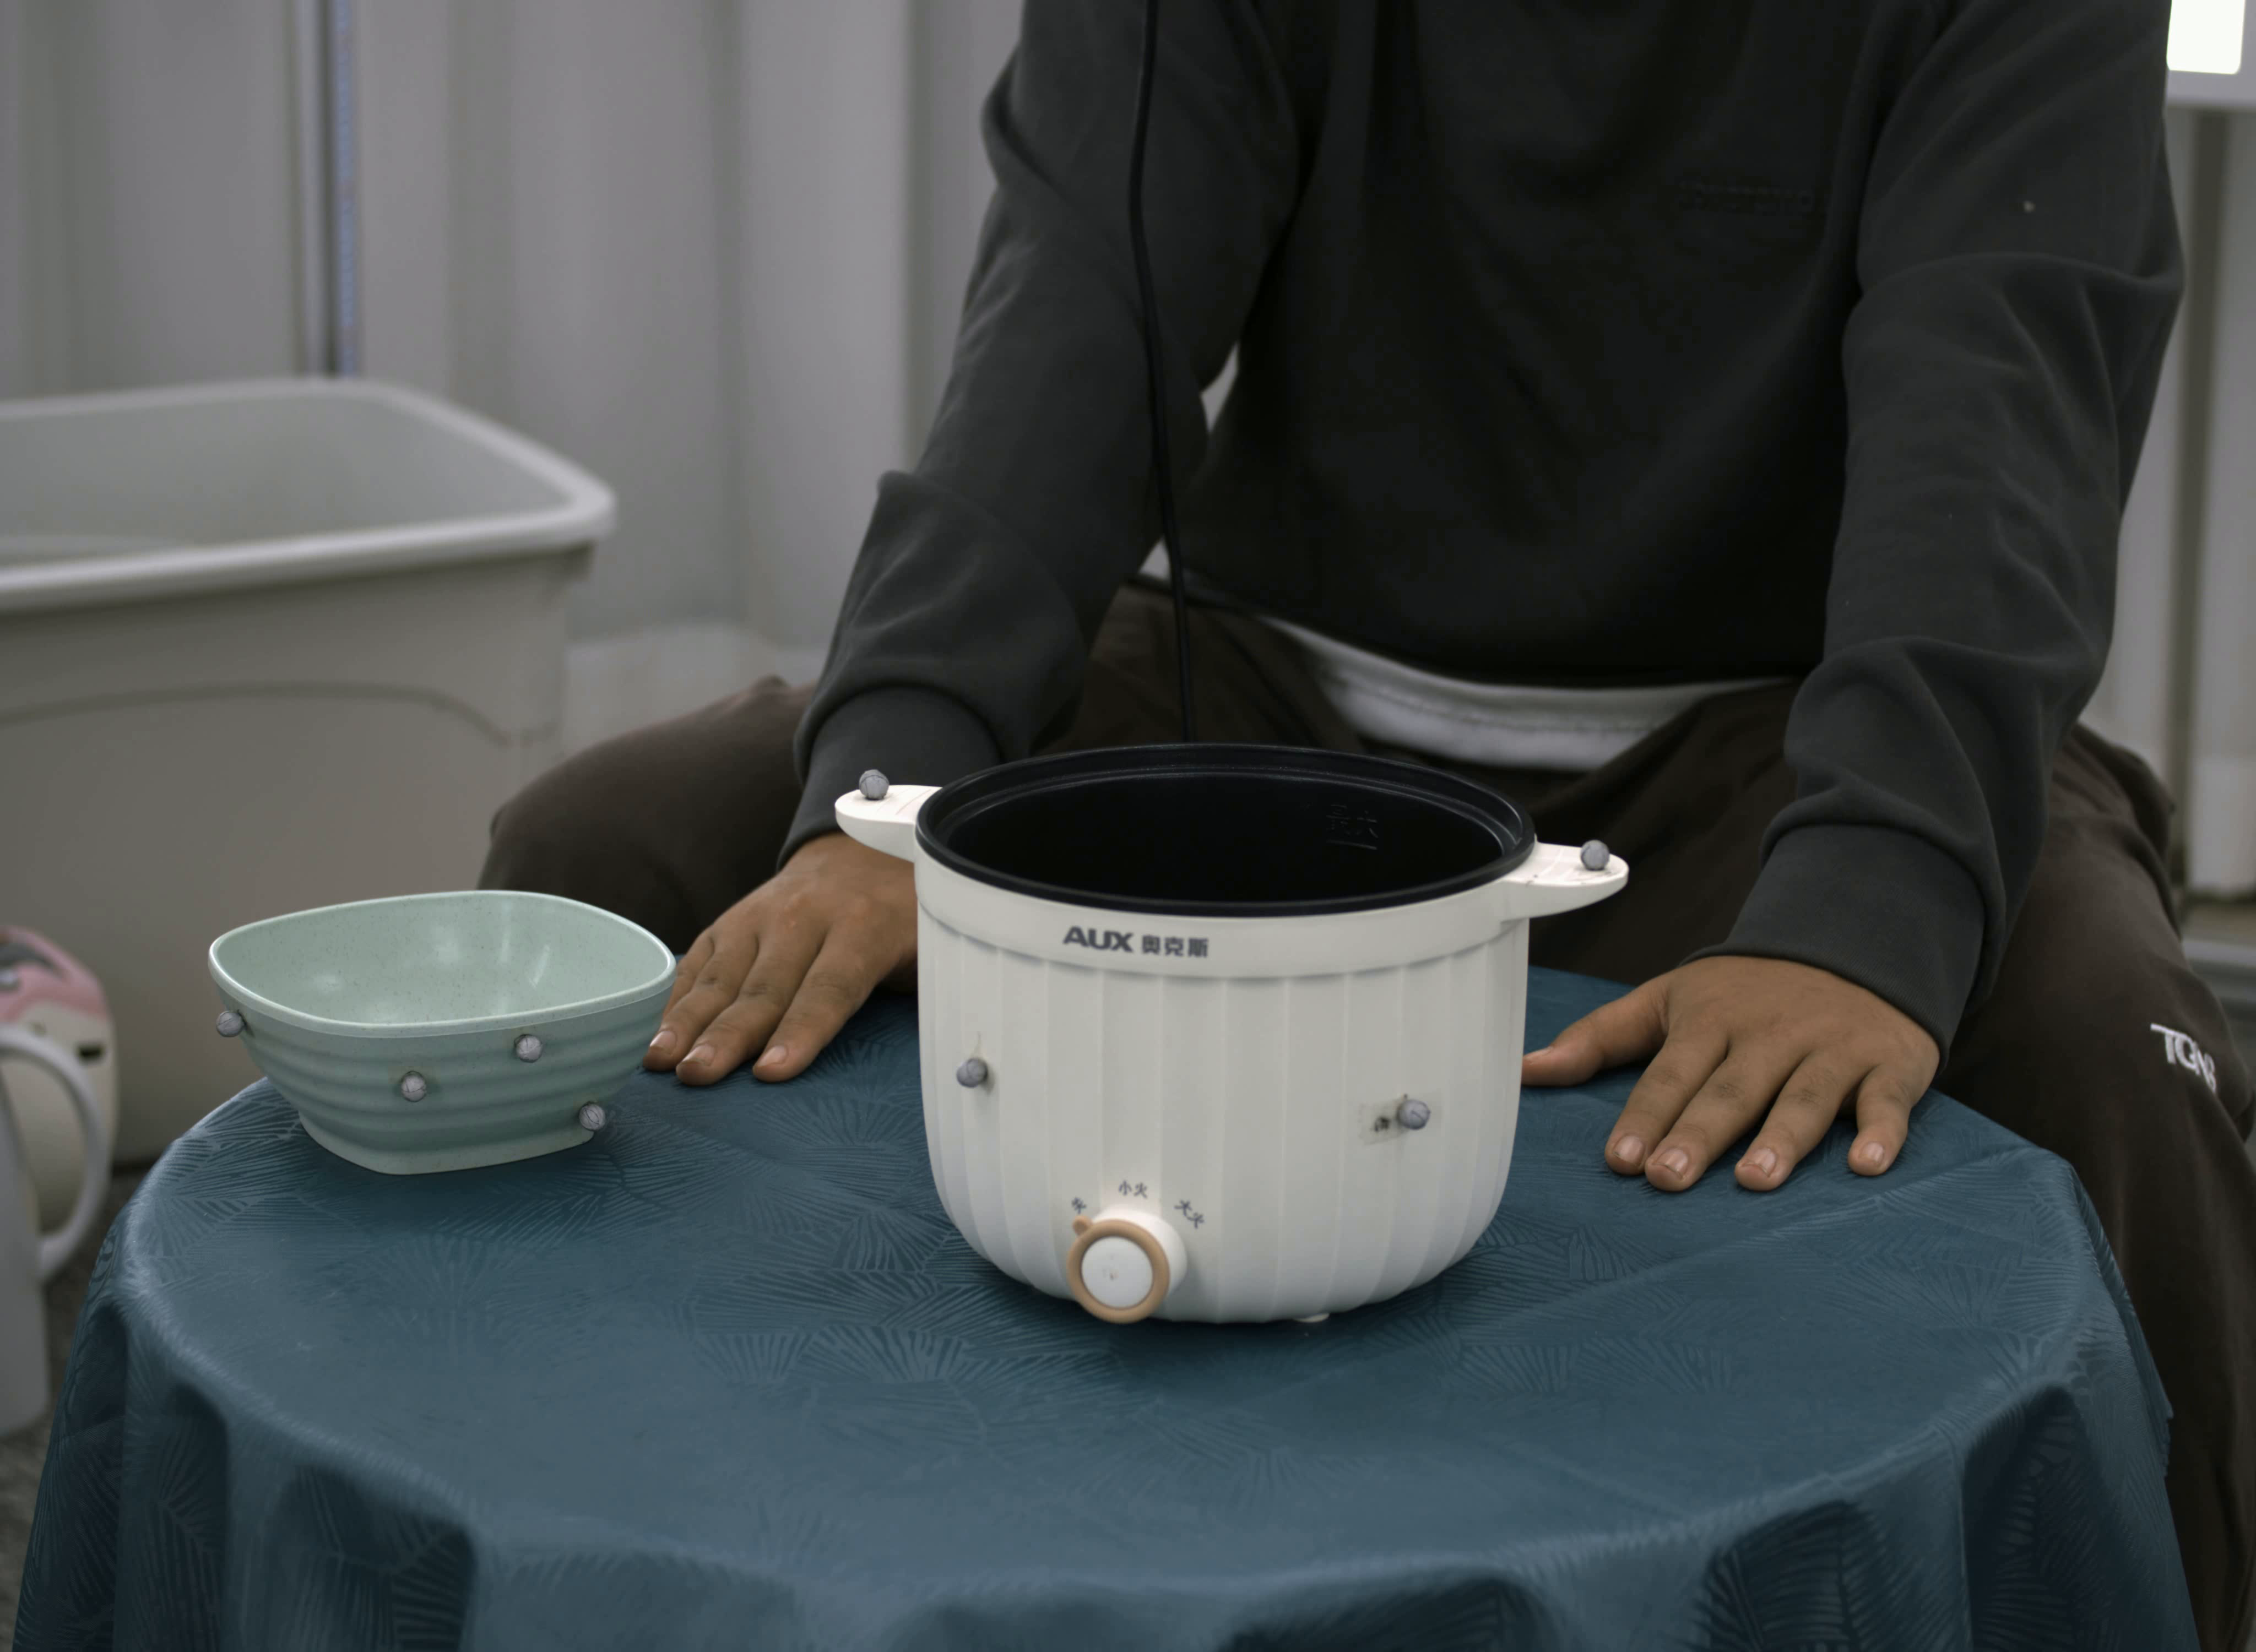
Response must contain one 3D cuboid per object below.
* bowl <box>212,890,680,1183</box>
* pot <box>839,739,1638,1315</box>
[{"bbox_3d":[-0.216,0.069,1.668,0.151,0.059,0.150,2,17,0],"label":"bowl"},{"bbox_3d":[0.030,0.062,1.546,0.238,0.143,0.190,3,13,15],"label":"pot"}]
